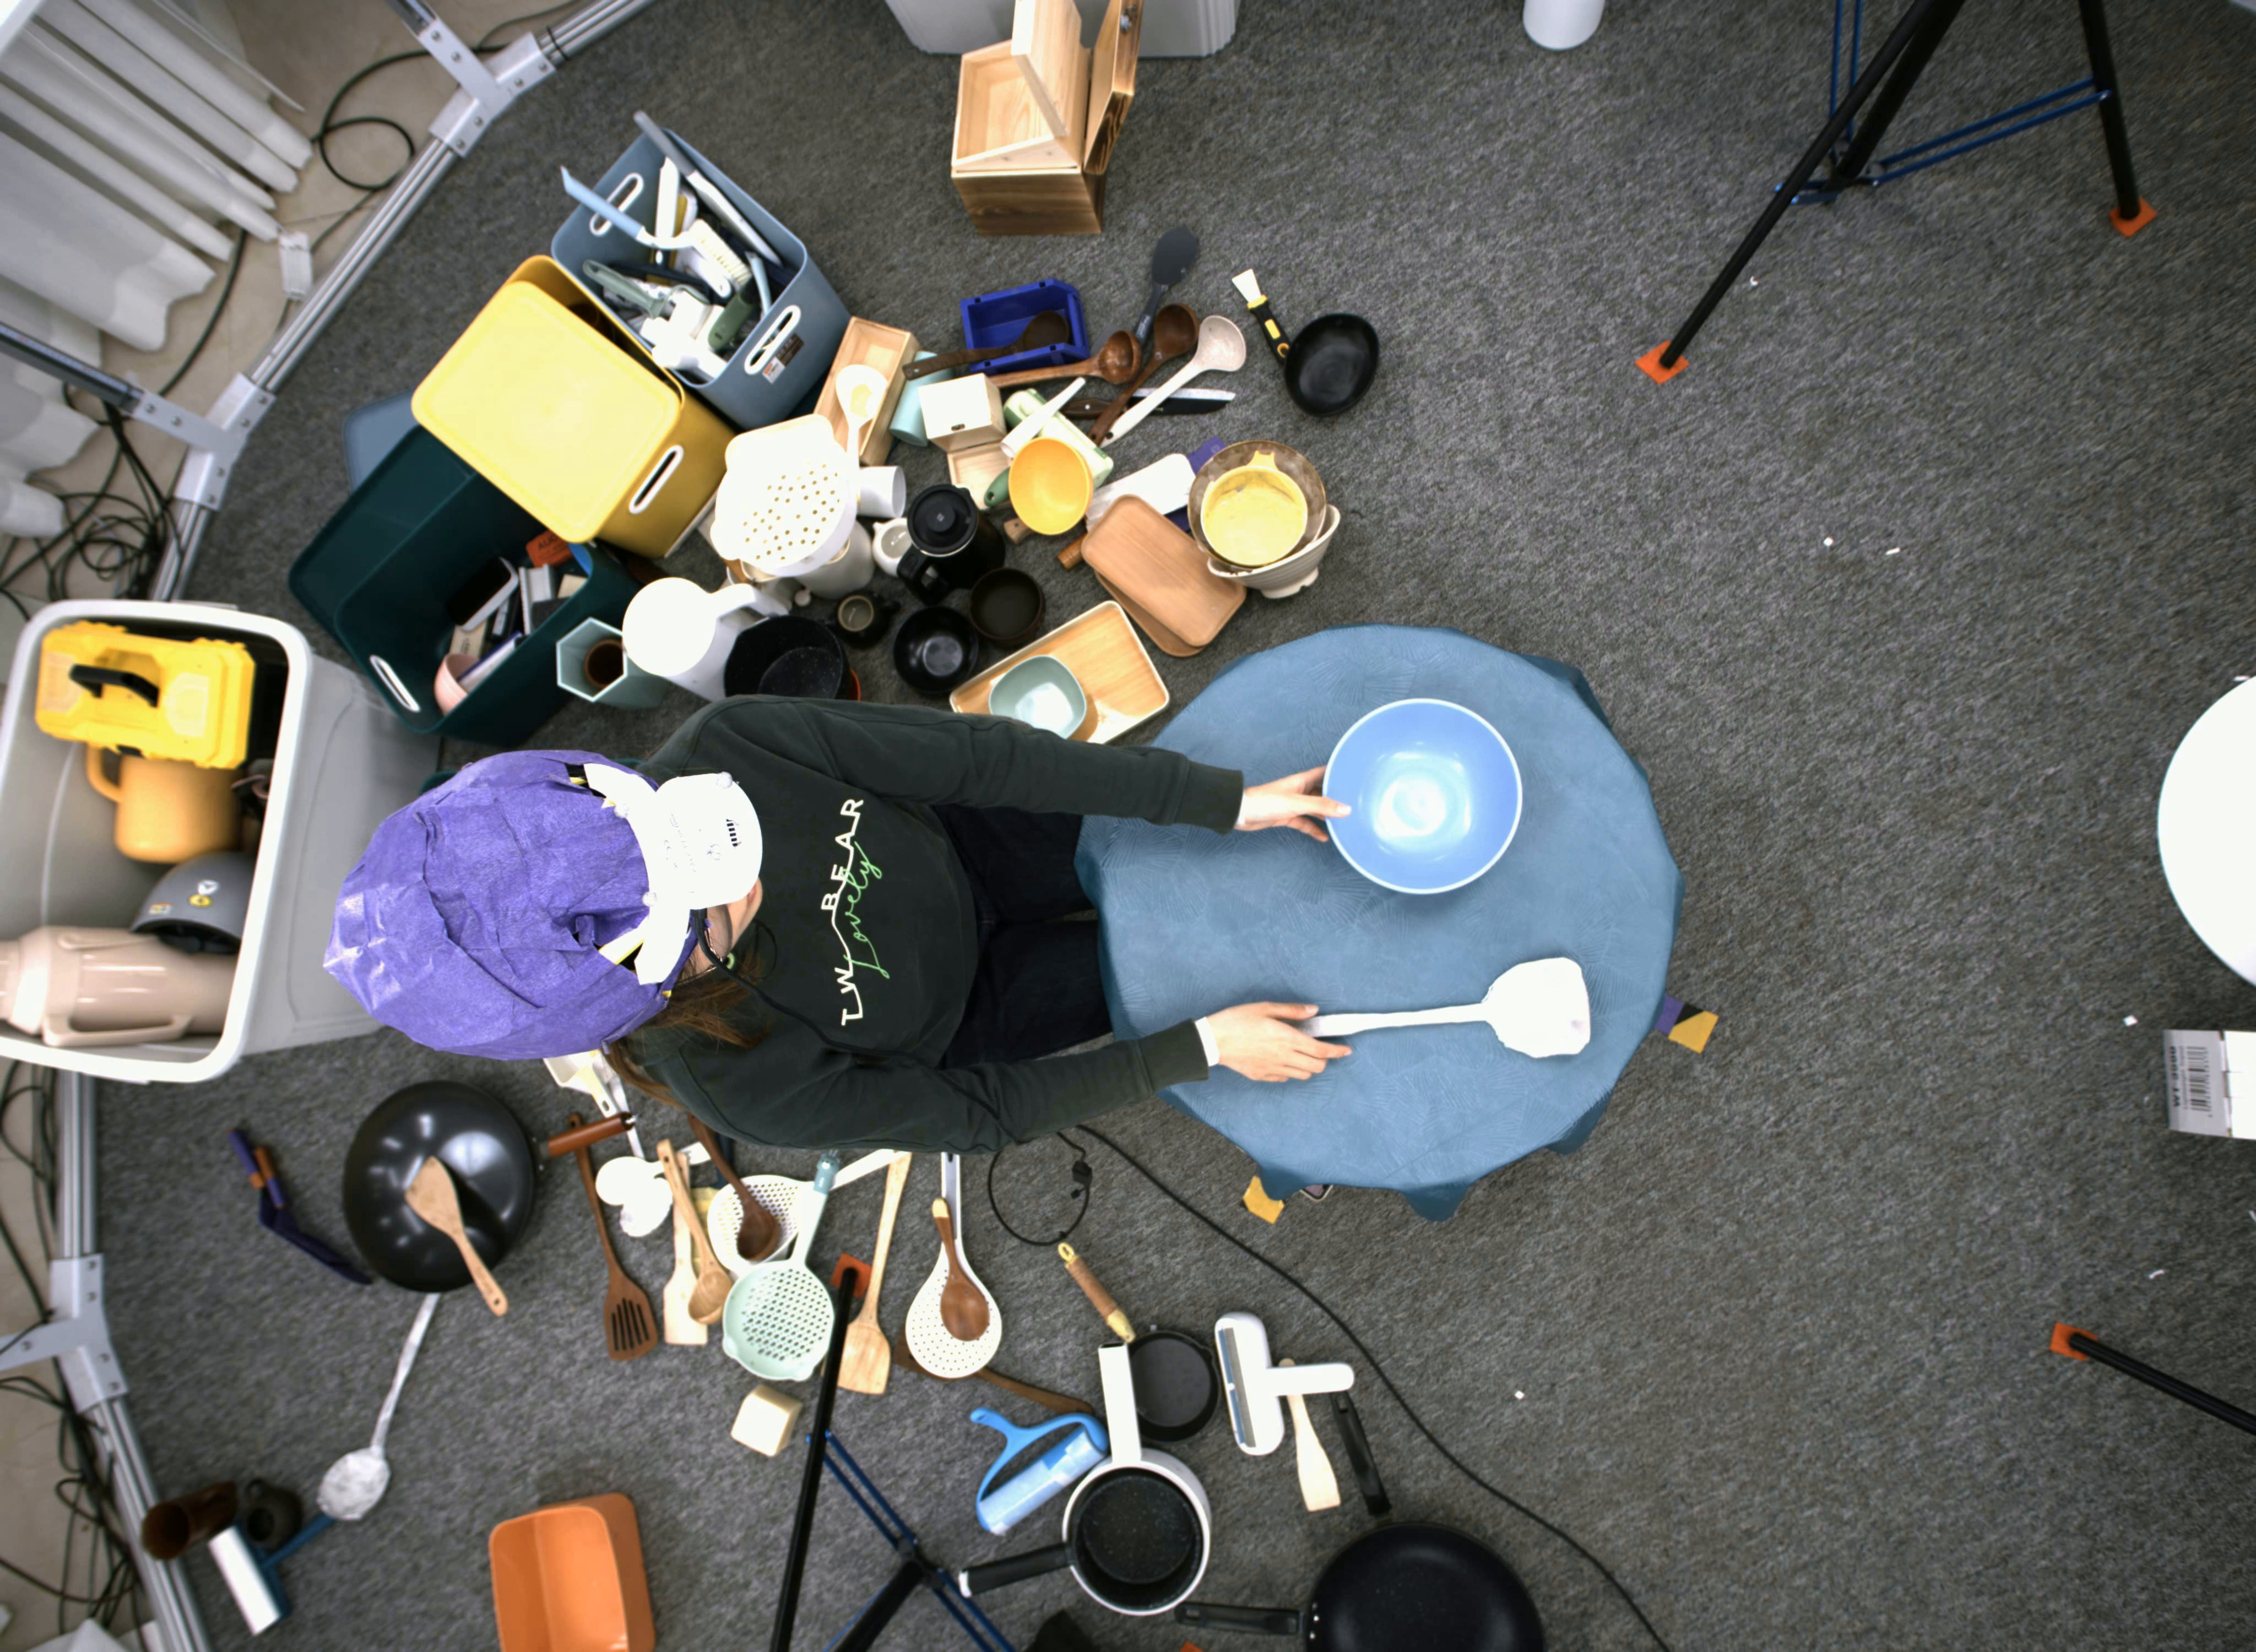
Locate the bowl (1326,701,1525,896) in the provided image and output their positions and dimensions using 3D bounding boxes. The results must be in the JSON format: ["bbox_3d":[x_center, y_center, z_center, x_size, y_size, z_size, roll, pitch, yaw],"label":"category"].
[{"bbox_3d":[0.302,-0.025,1.417,0.197,0.095,0.195,-1,87,9],"label":"bowl"}]

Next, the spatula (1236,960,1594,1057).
[{"bbox_3d":[0.292,0.197,1.433,0.366,0.045,0.098,-5,87,10],"label":"spatula"}]
